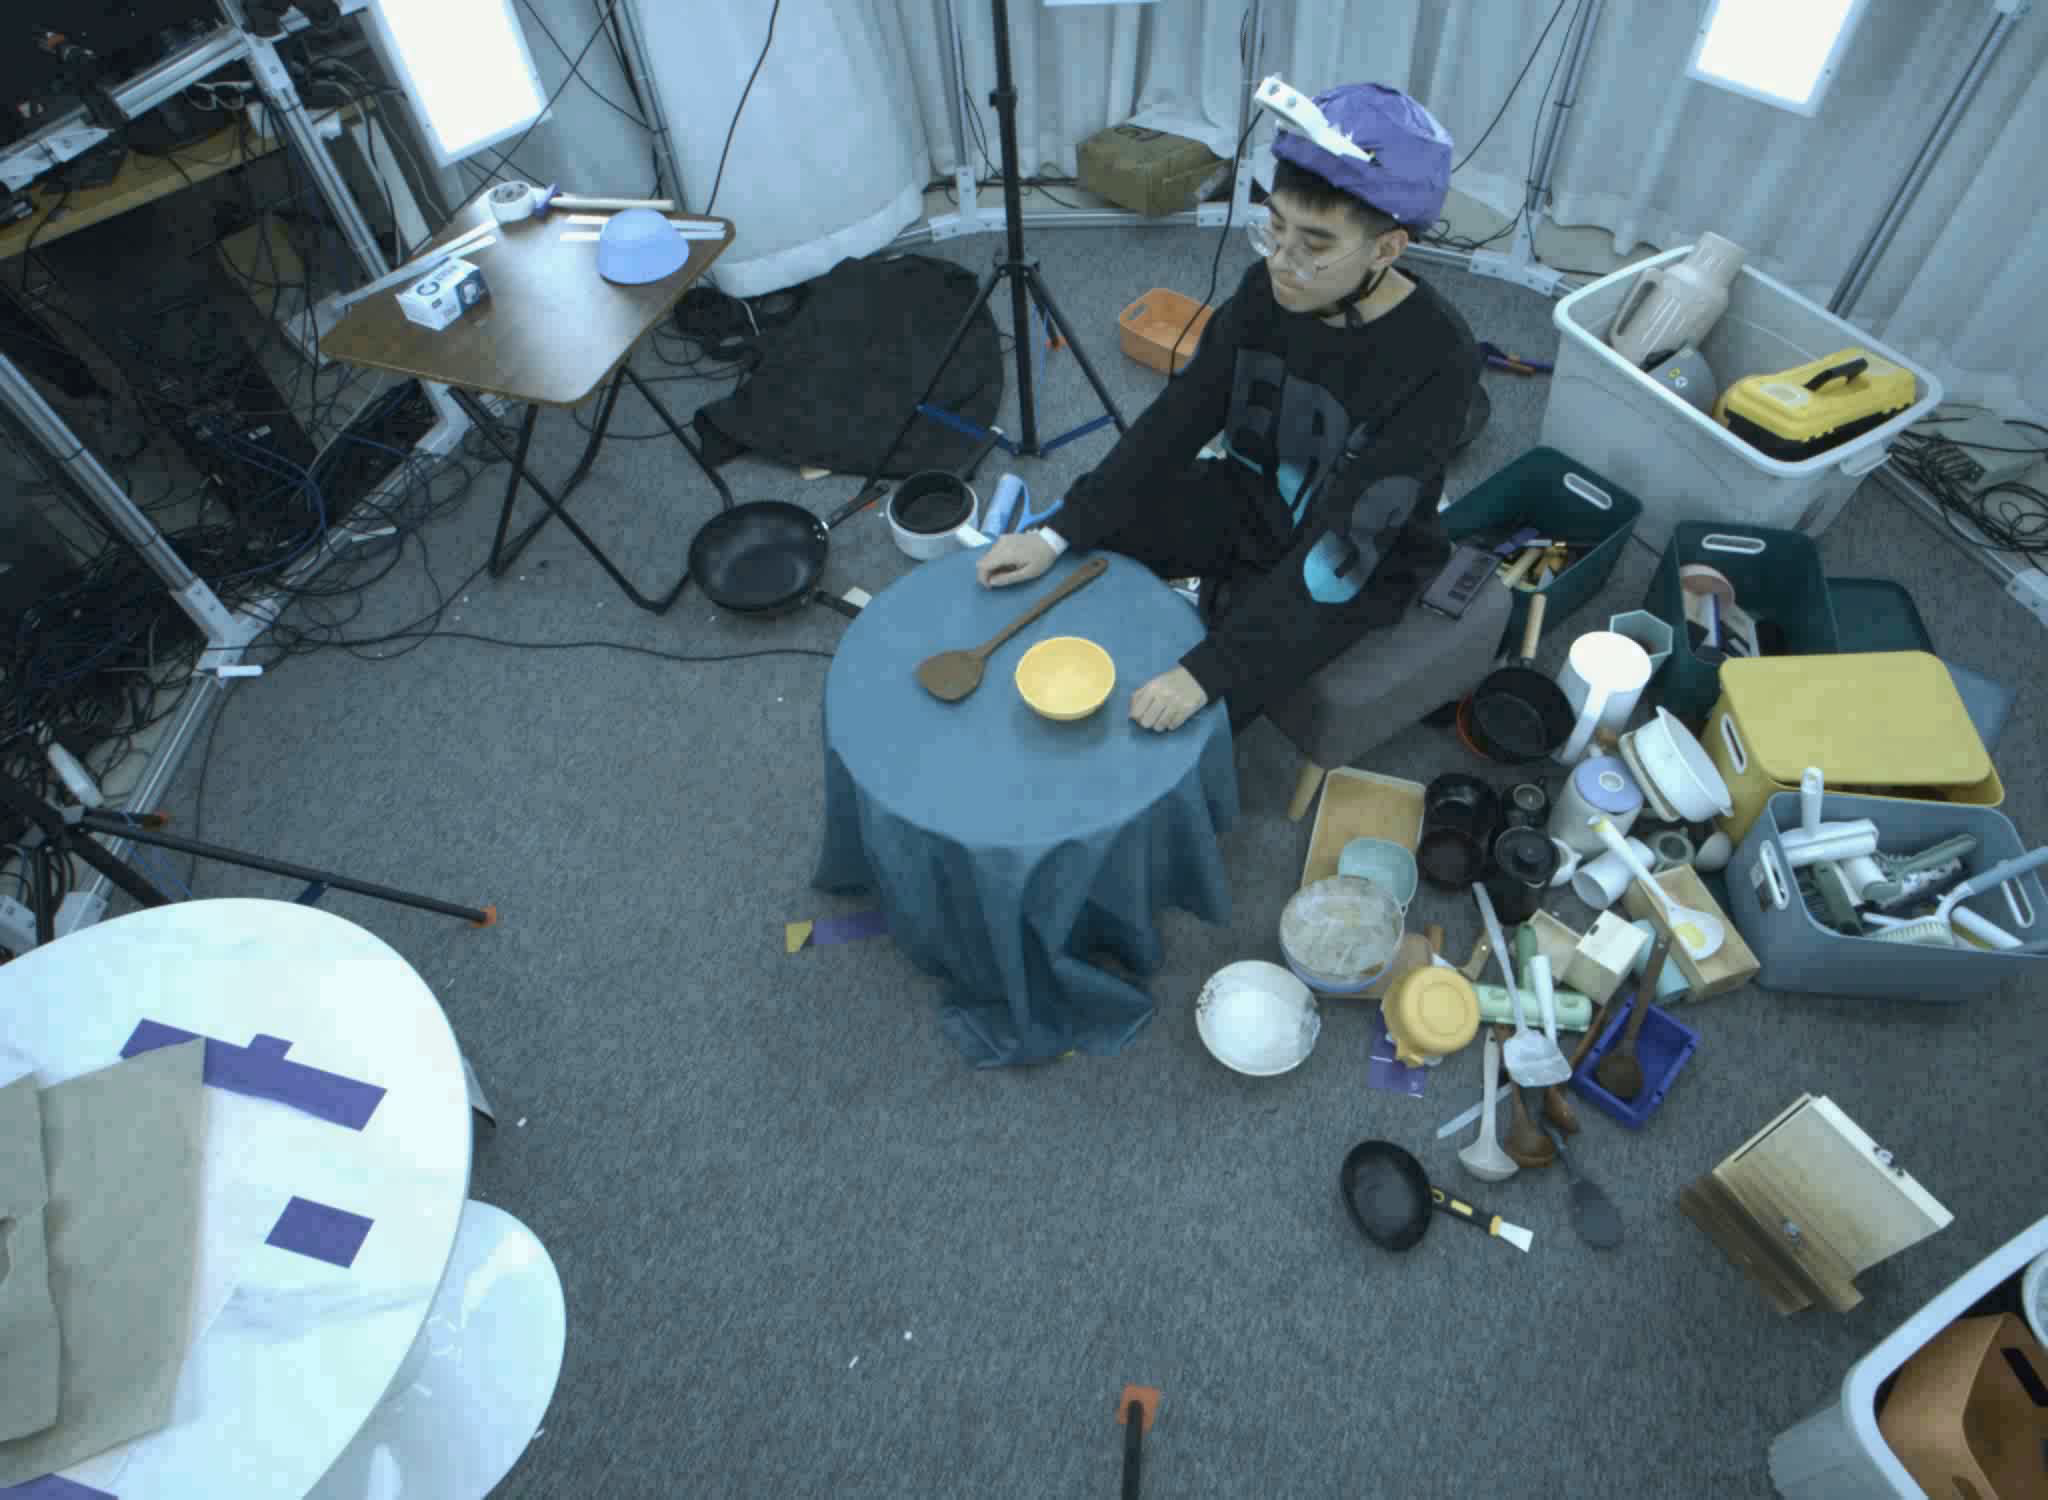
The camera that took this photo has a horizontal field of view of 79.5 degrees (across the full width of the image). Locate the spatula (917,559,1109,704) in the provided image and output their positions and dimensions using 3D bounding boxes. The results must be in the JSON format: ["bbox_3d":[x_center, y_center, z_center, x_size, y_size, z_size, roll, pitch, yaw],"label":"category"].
[{"bbox_3d":[-0.004,-0.197,1.928,0.389,0.016,0.094,-39,63,-23],"label":"spatula"}]

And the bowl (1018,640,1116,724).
[{"bbox_3d":[0.063,-0.089,1.825,0.145,0.060,0.144,1,56,0],"label":"bowl"}]
